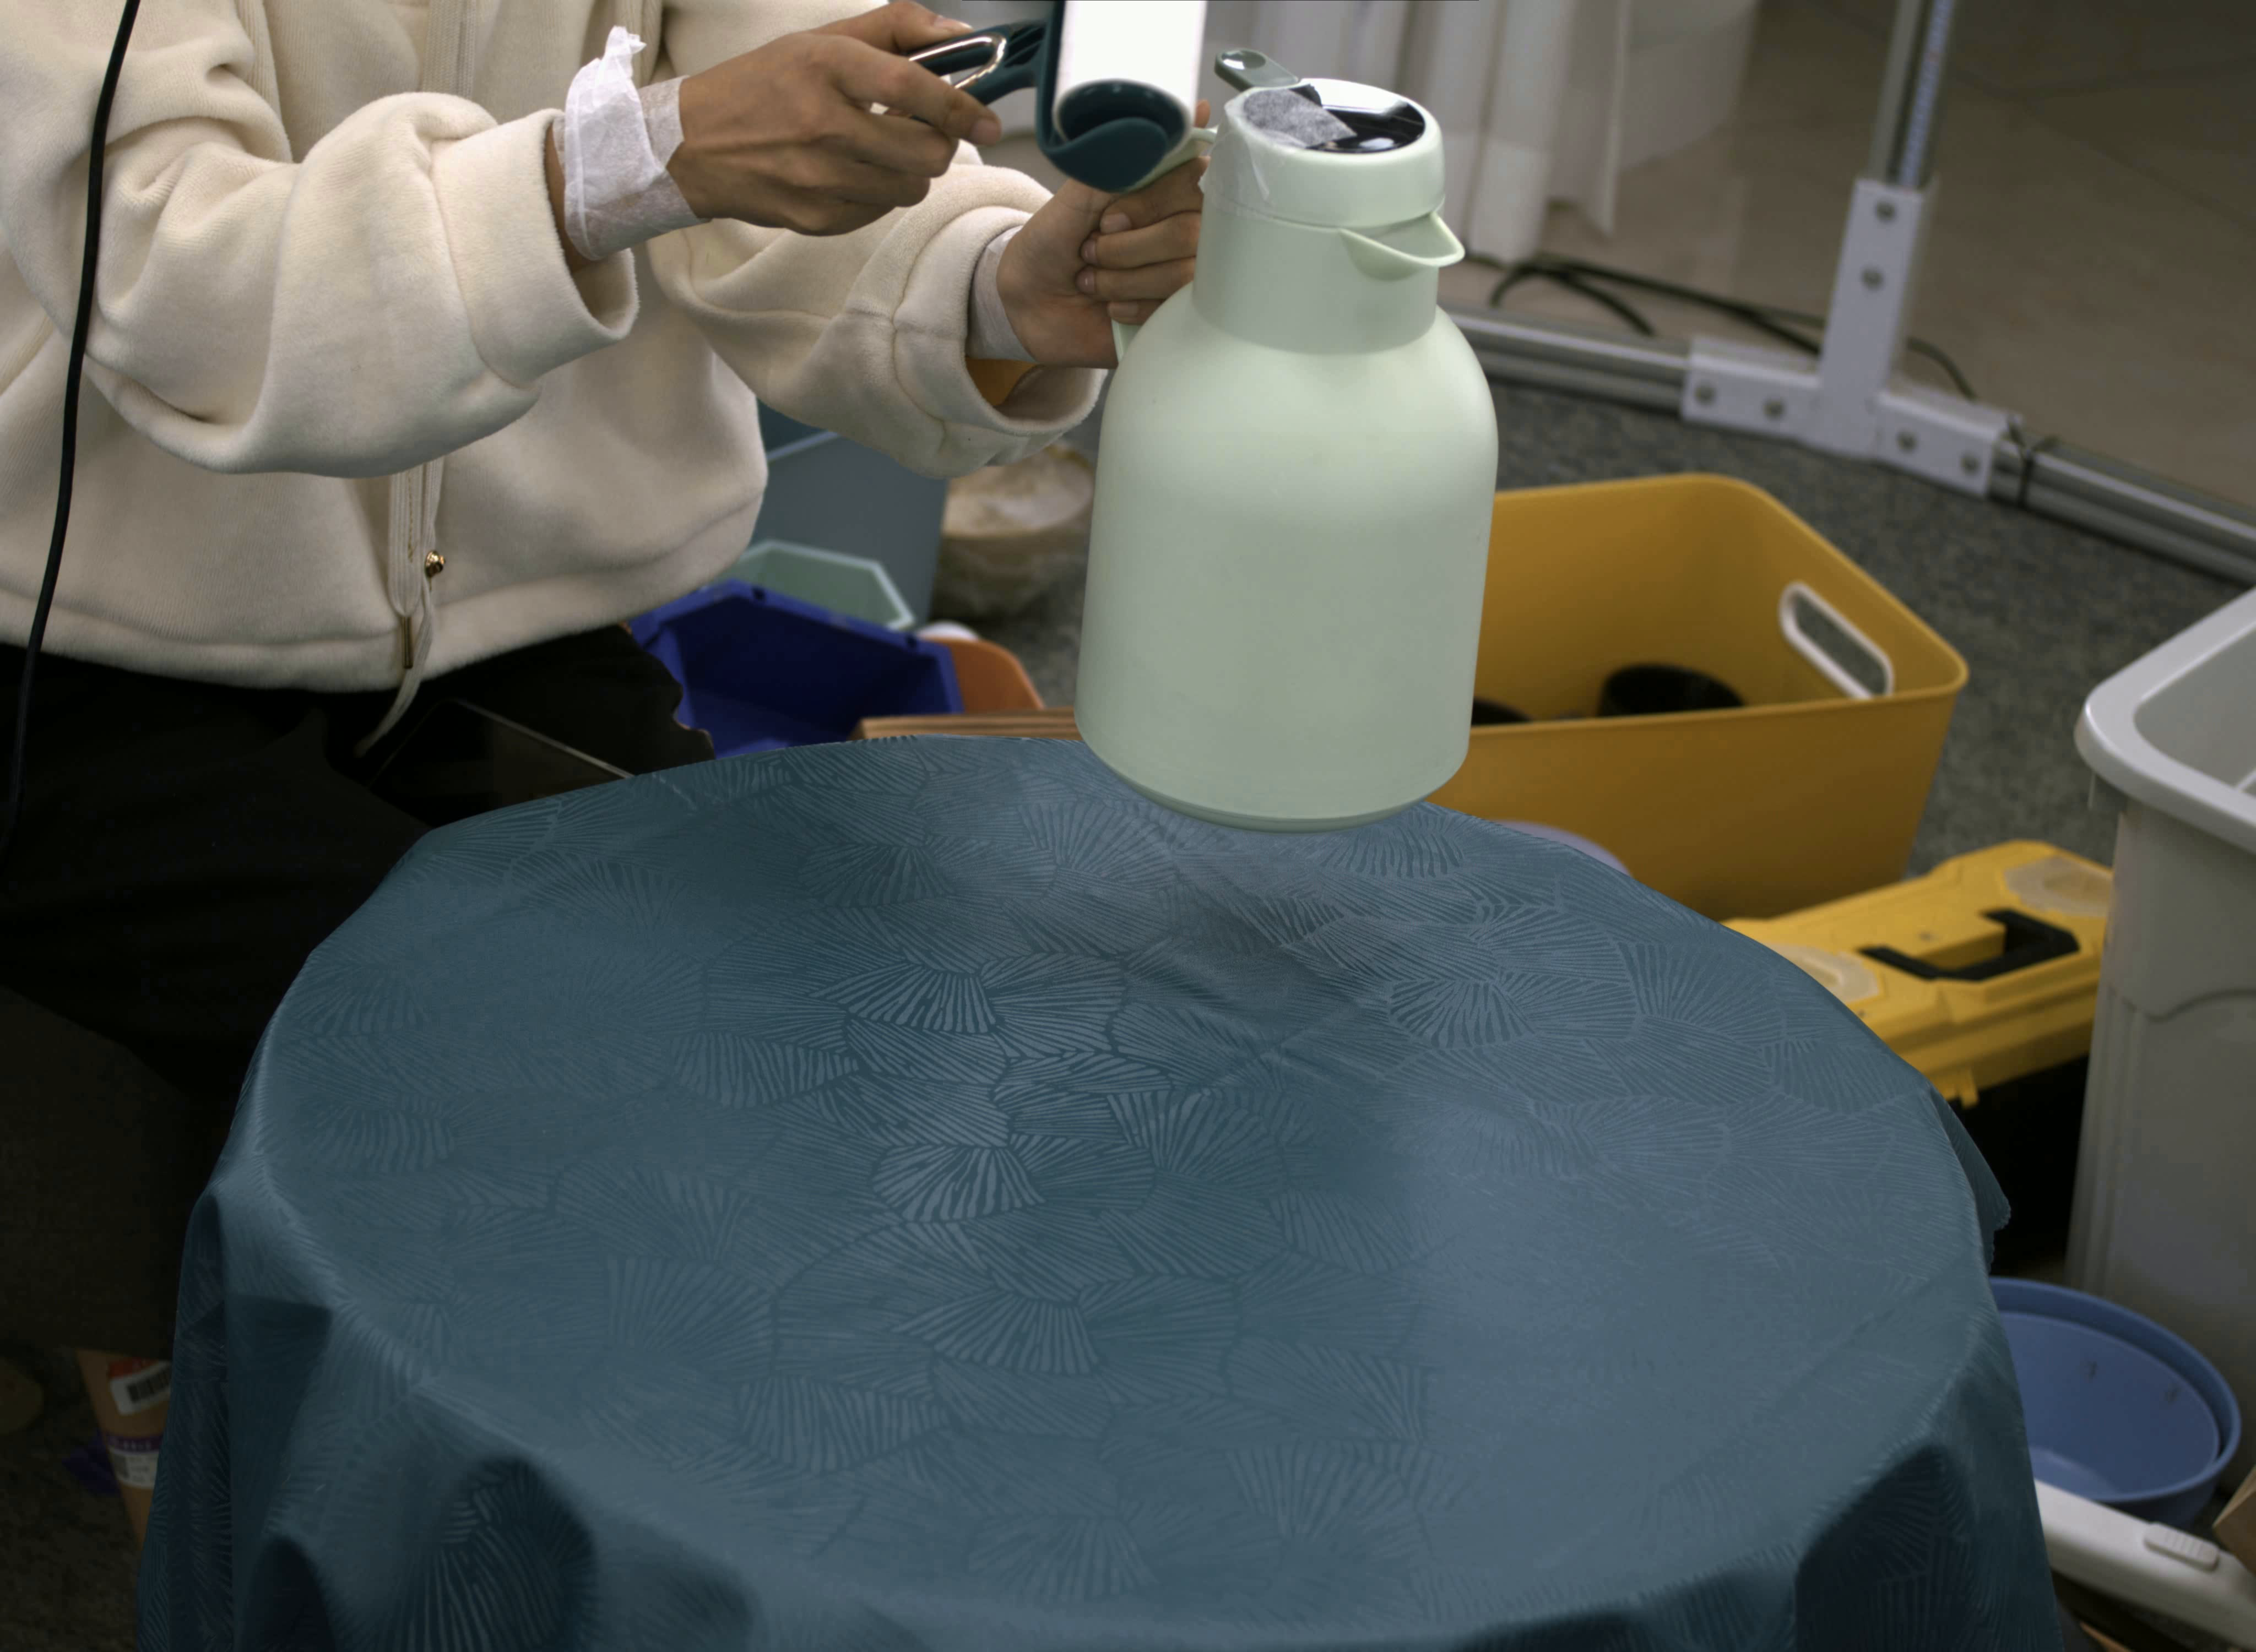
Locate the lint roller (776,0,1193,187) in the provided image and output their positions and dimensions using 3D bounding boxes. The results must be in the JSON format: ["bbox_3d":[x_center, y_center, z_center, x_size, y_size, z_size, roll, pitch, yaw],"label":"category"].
[{"bbox_3d":[-0.058,-0.263,1.816,0.180,0.048,0.135,-12,54,30],"label":"lint roller"}]

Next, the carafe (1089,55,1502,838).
[{"bbox_3d":[0.054,-0.140,1.901,0.143,0.256,0.188,-15,31,-29],"label":"carafe"}]
